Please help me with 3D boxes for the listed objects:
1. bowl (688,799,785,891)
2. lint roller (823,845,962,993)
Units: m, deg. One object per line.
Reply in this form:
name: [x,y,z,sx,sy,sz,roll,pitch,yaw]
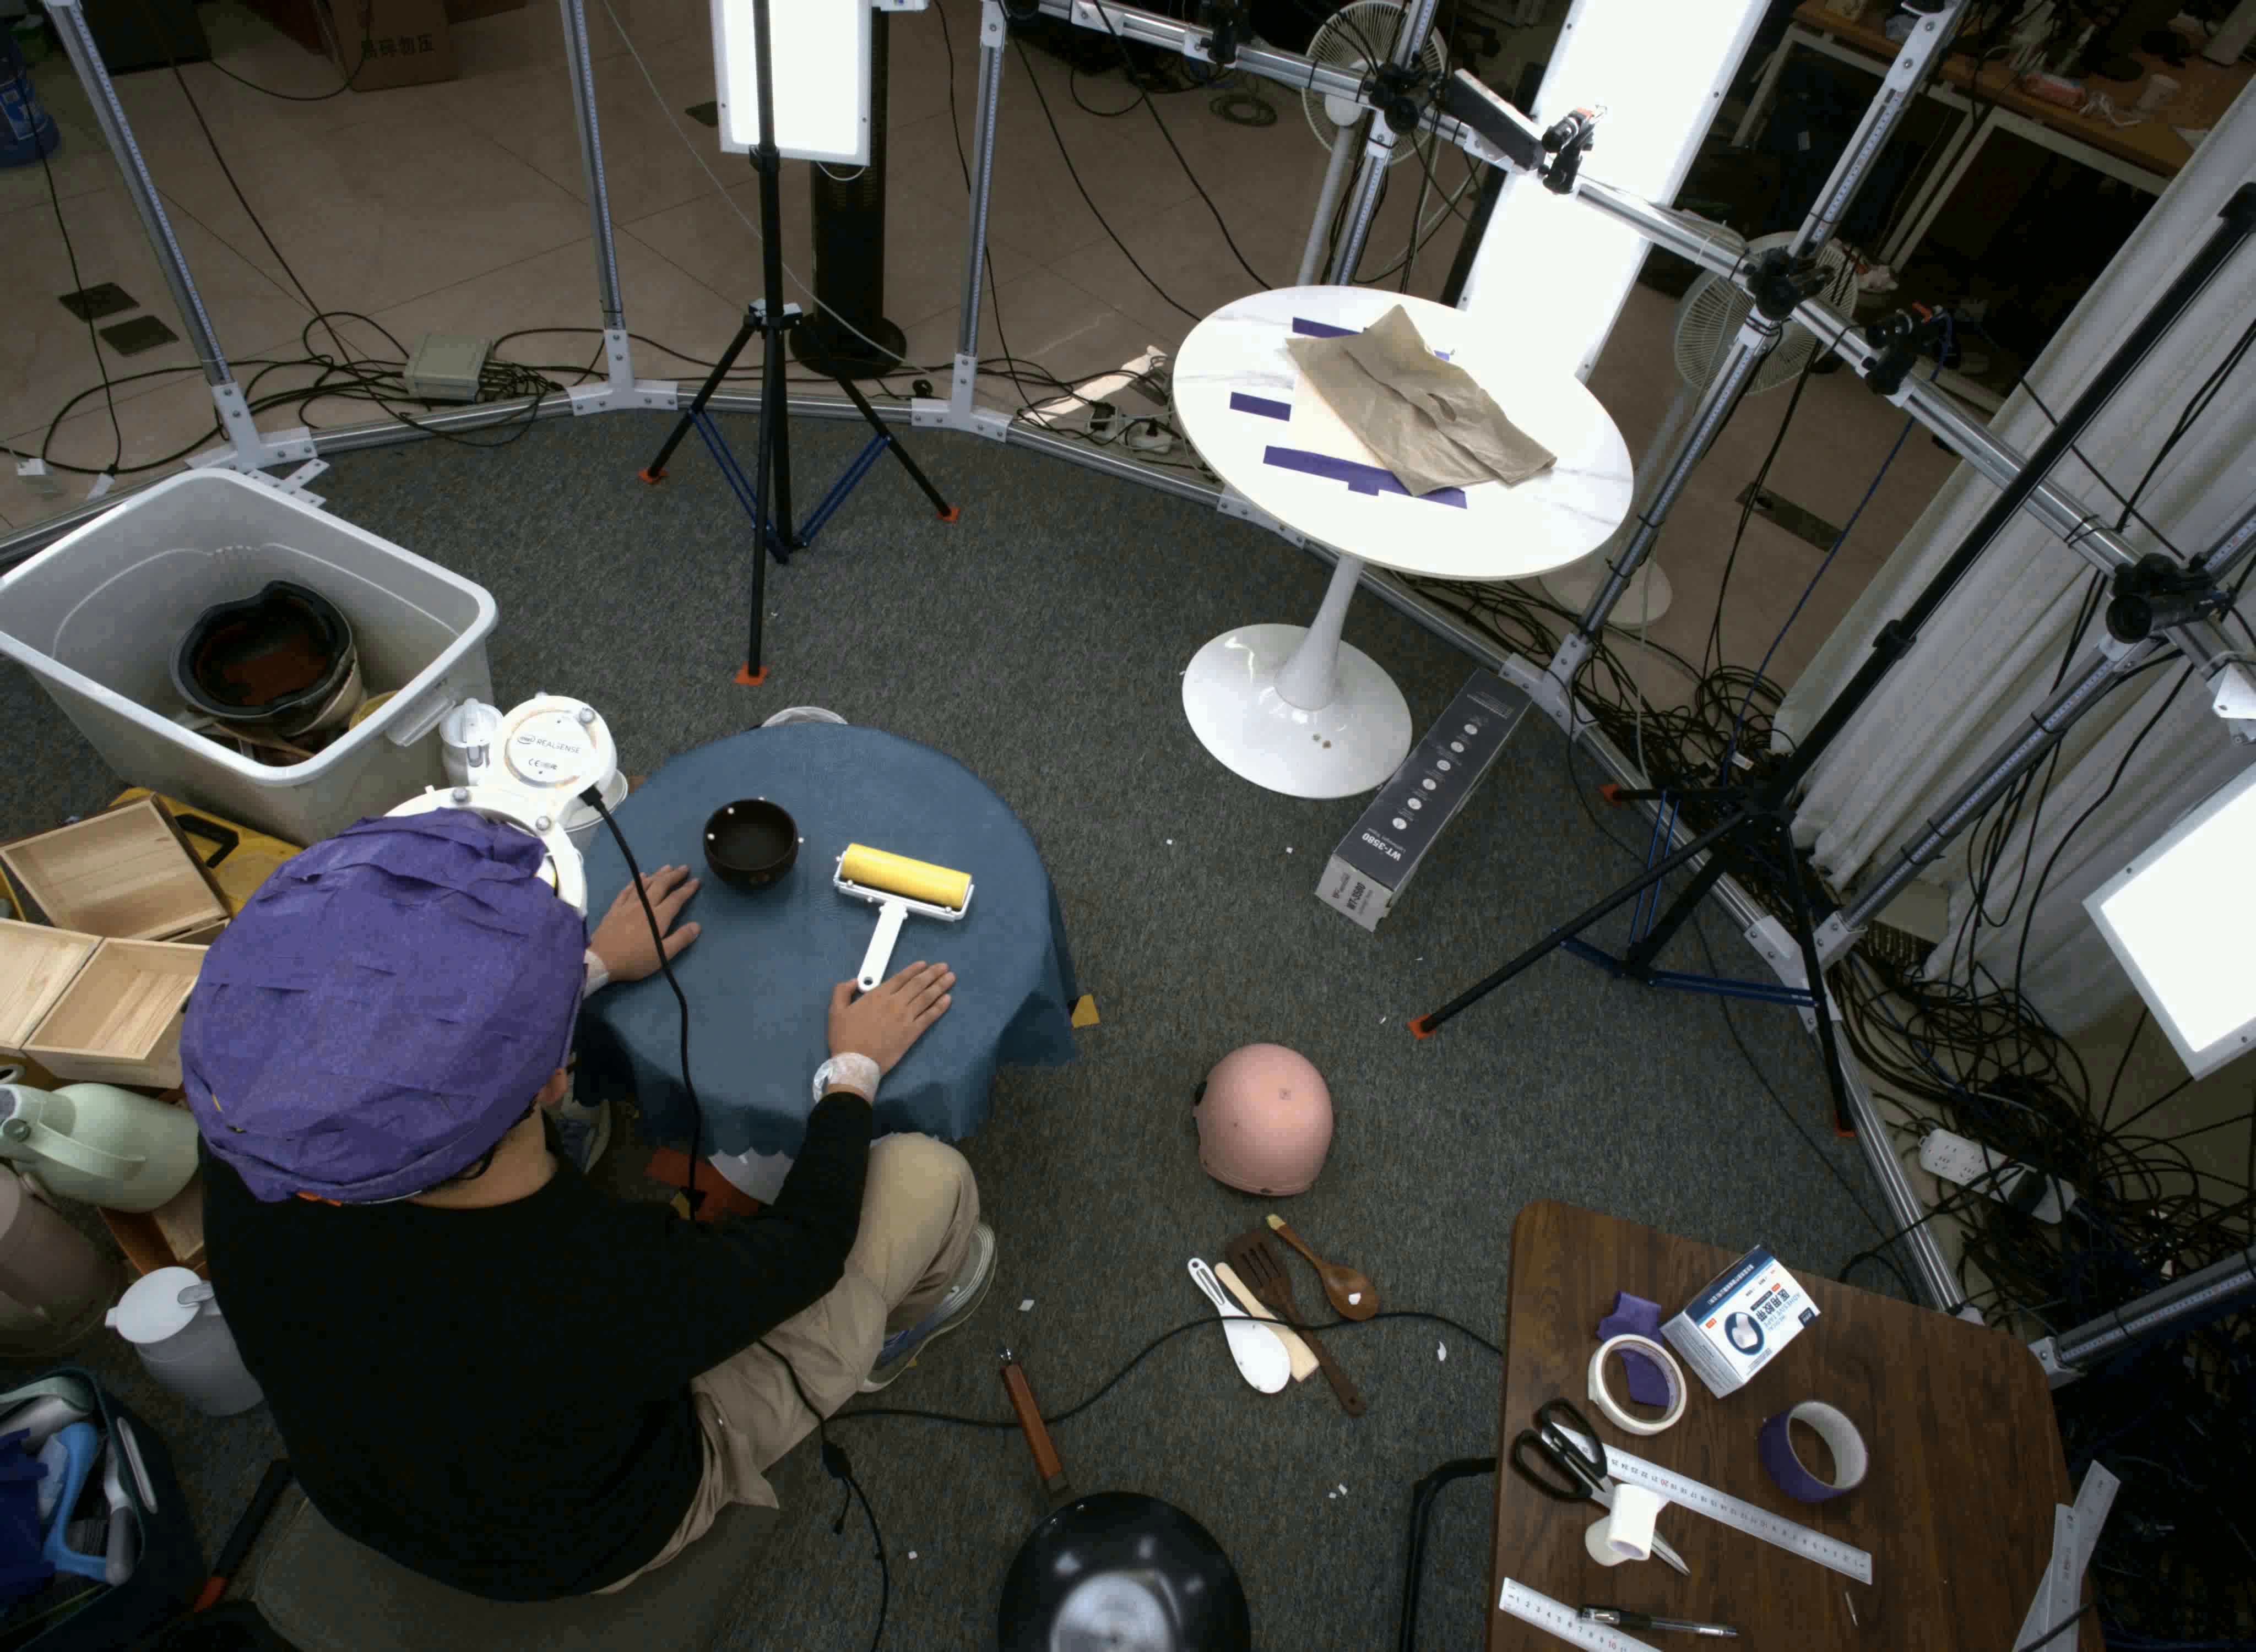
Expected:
bowl: [-0.492,0.031,1.629,0.118,0.071,0.116,7,51,-8]
lint roller: [-0.310,0.116,1.629,0.173,0.052,0.189,13,47,-4]
